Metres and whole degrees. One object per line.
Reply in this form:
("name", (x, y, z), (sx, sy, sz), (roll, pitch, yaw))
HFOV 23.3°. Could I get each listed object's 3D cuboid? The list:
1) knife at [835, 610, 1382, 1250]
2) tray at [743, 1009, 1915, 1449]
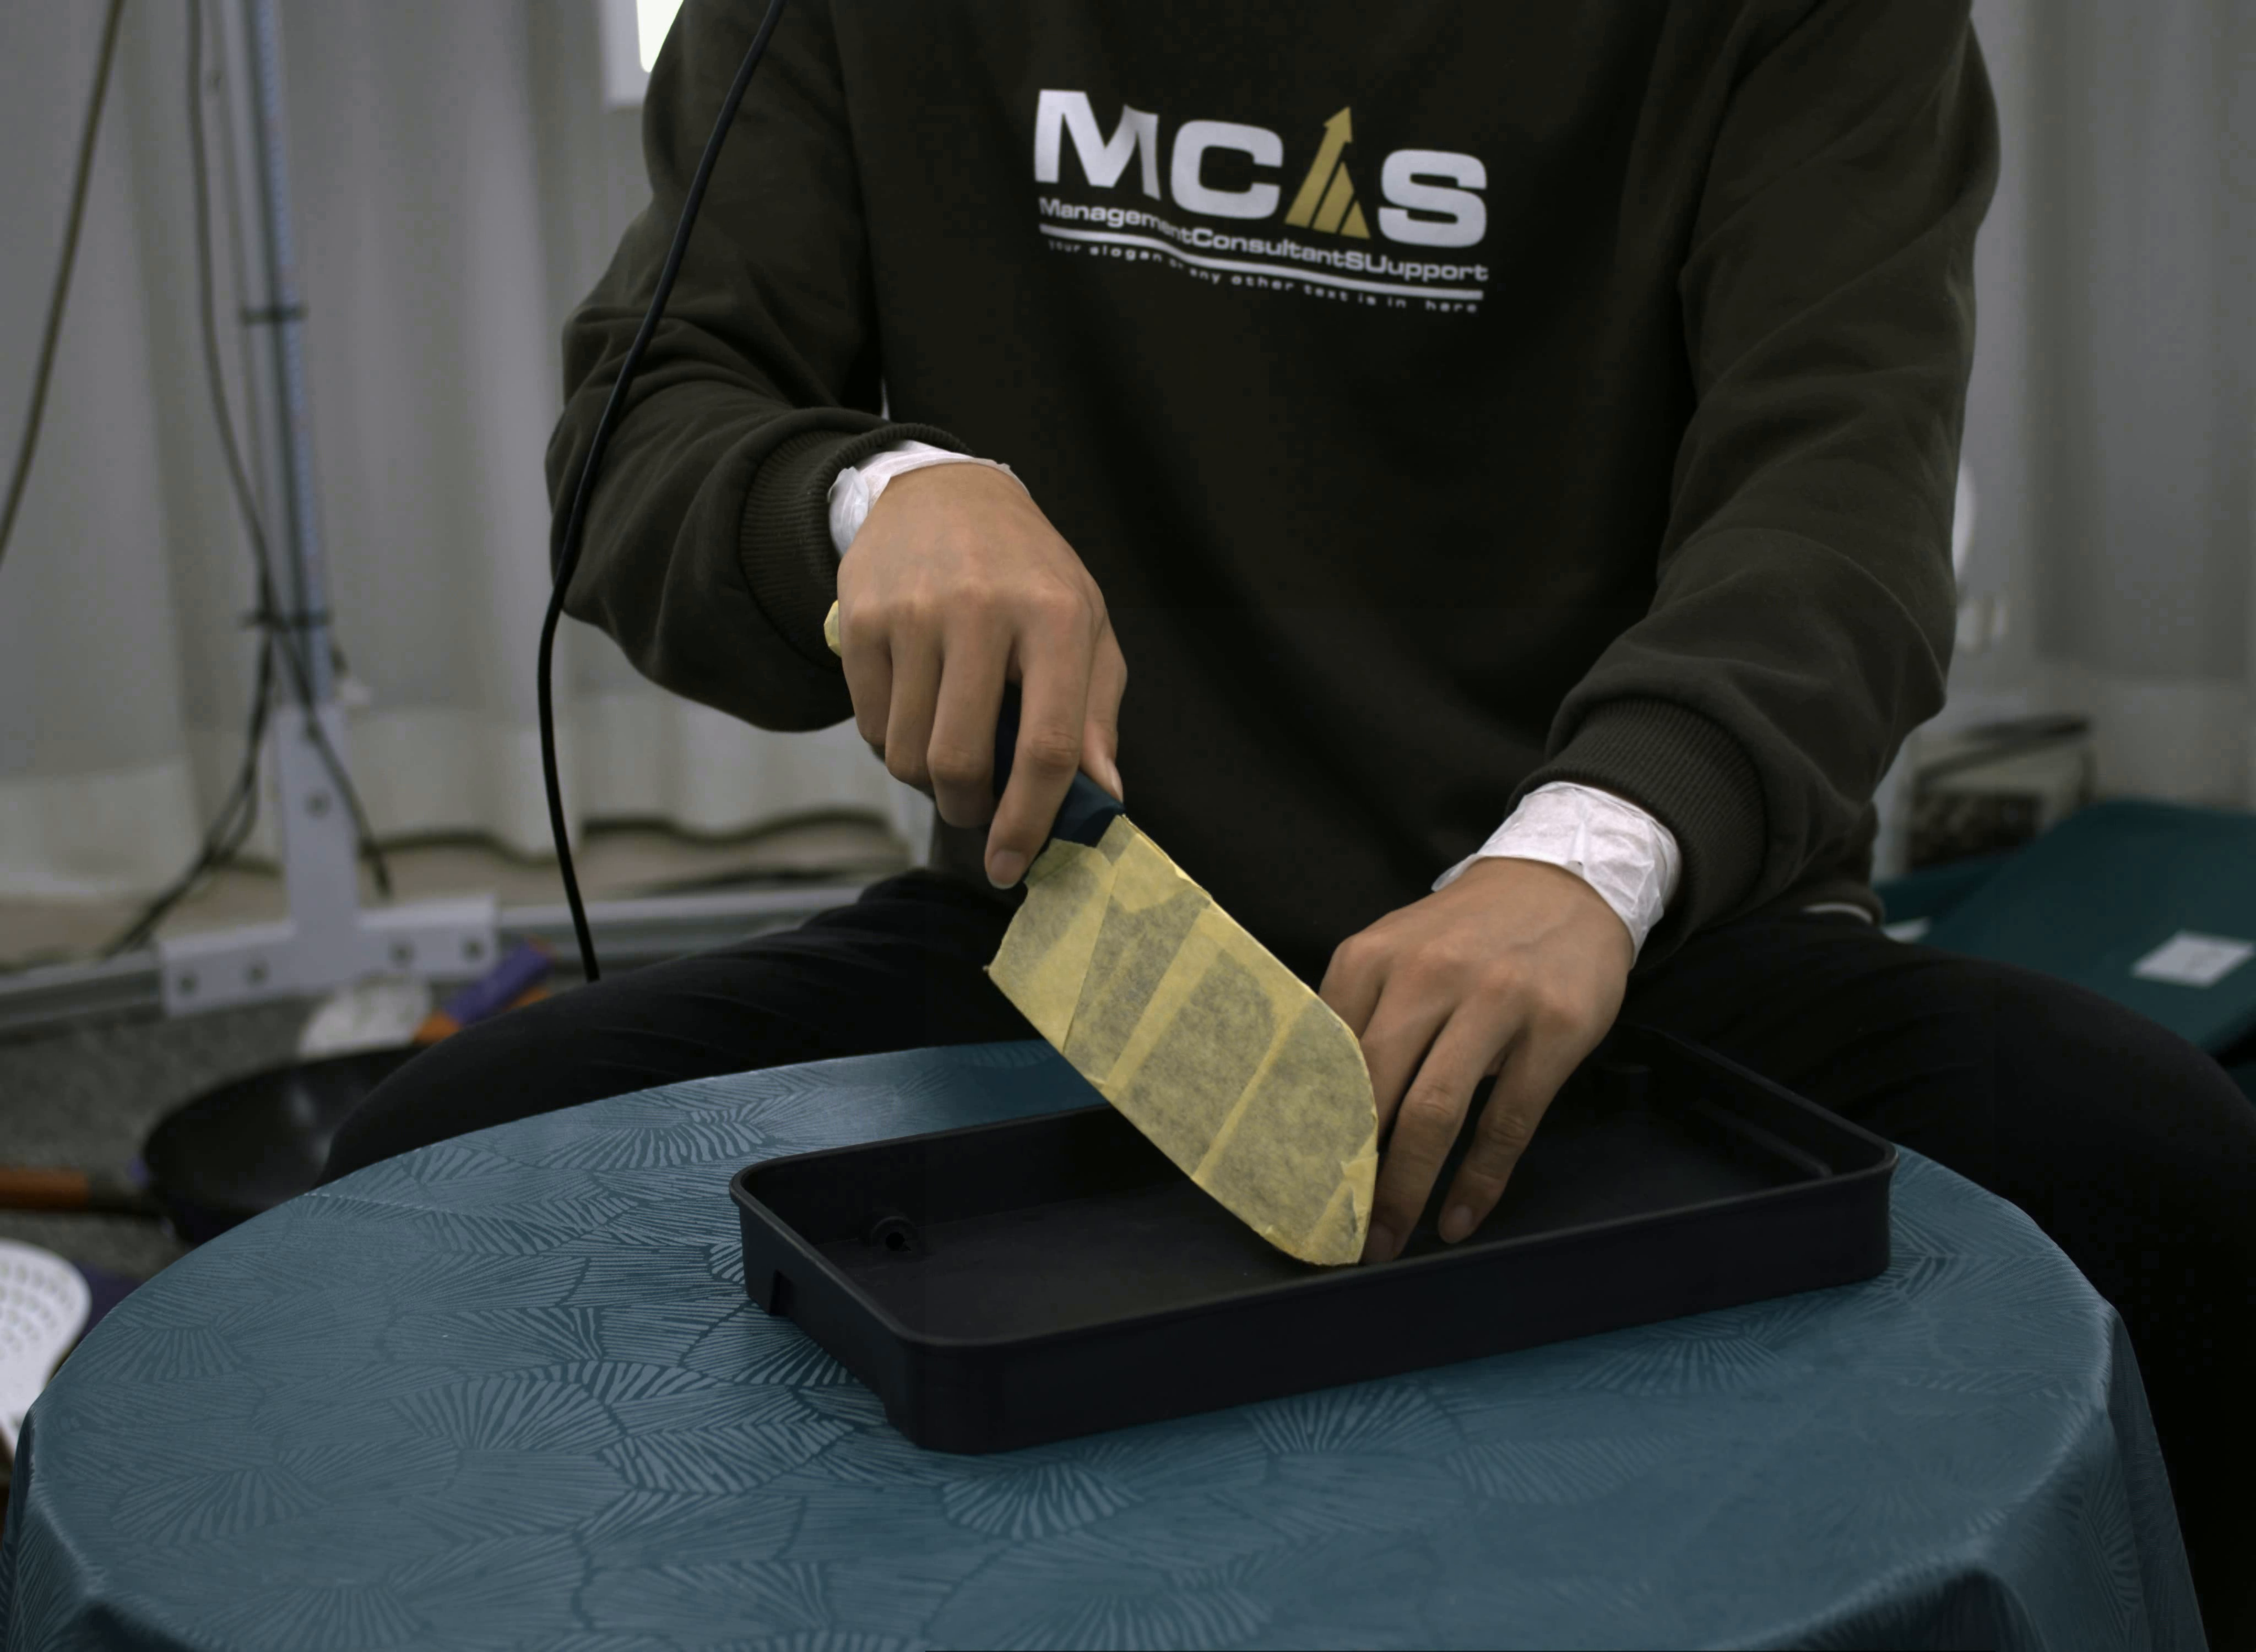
("knife", (-0.011, 0.030, 1.687), (0.027, 0.080, 0.293), (13, 28, -50))
("tray", (0.059, 0.115, 1.630), (0.316, 0.037, 0.186), (-9, 16, -23))
